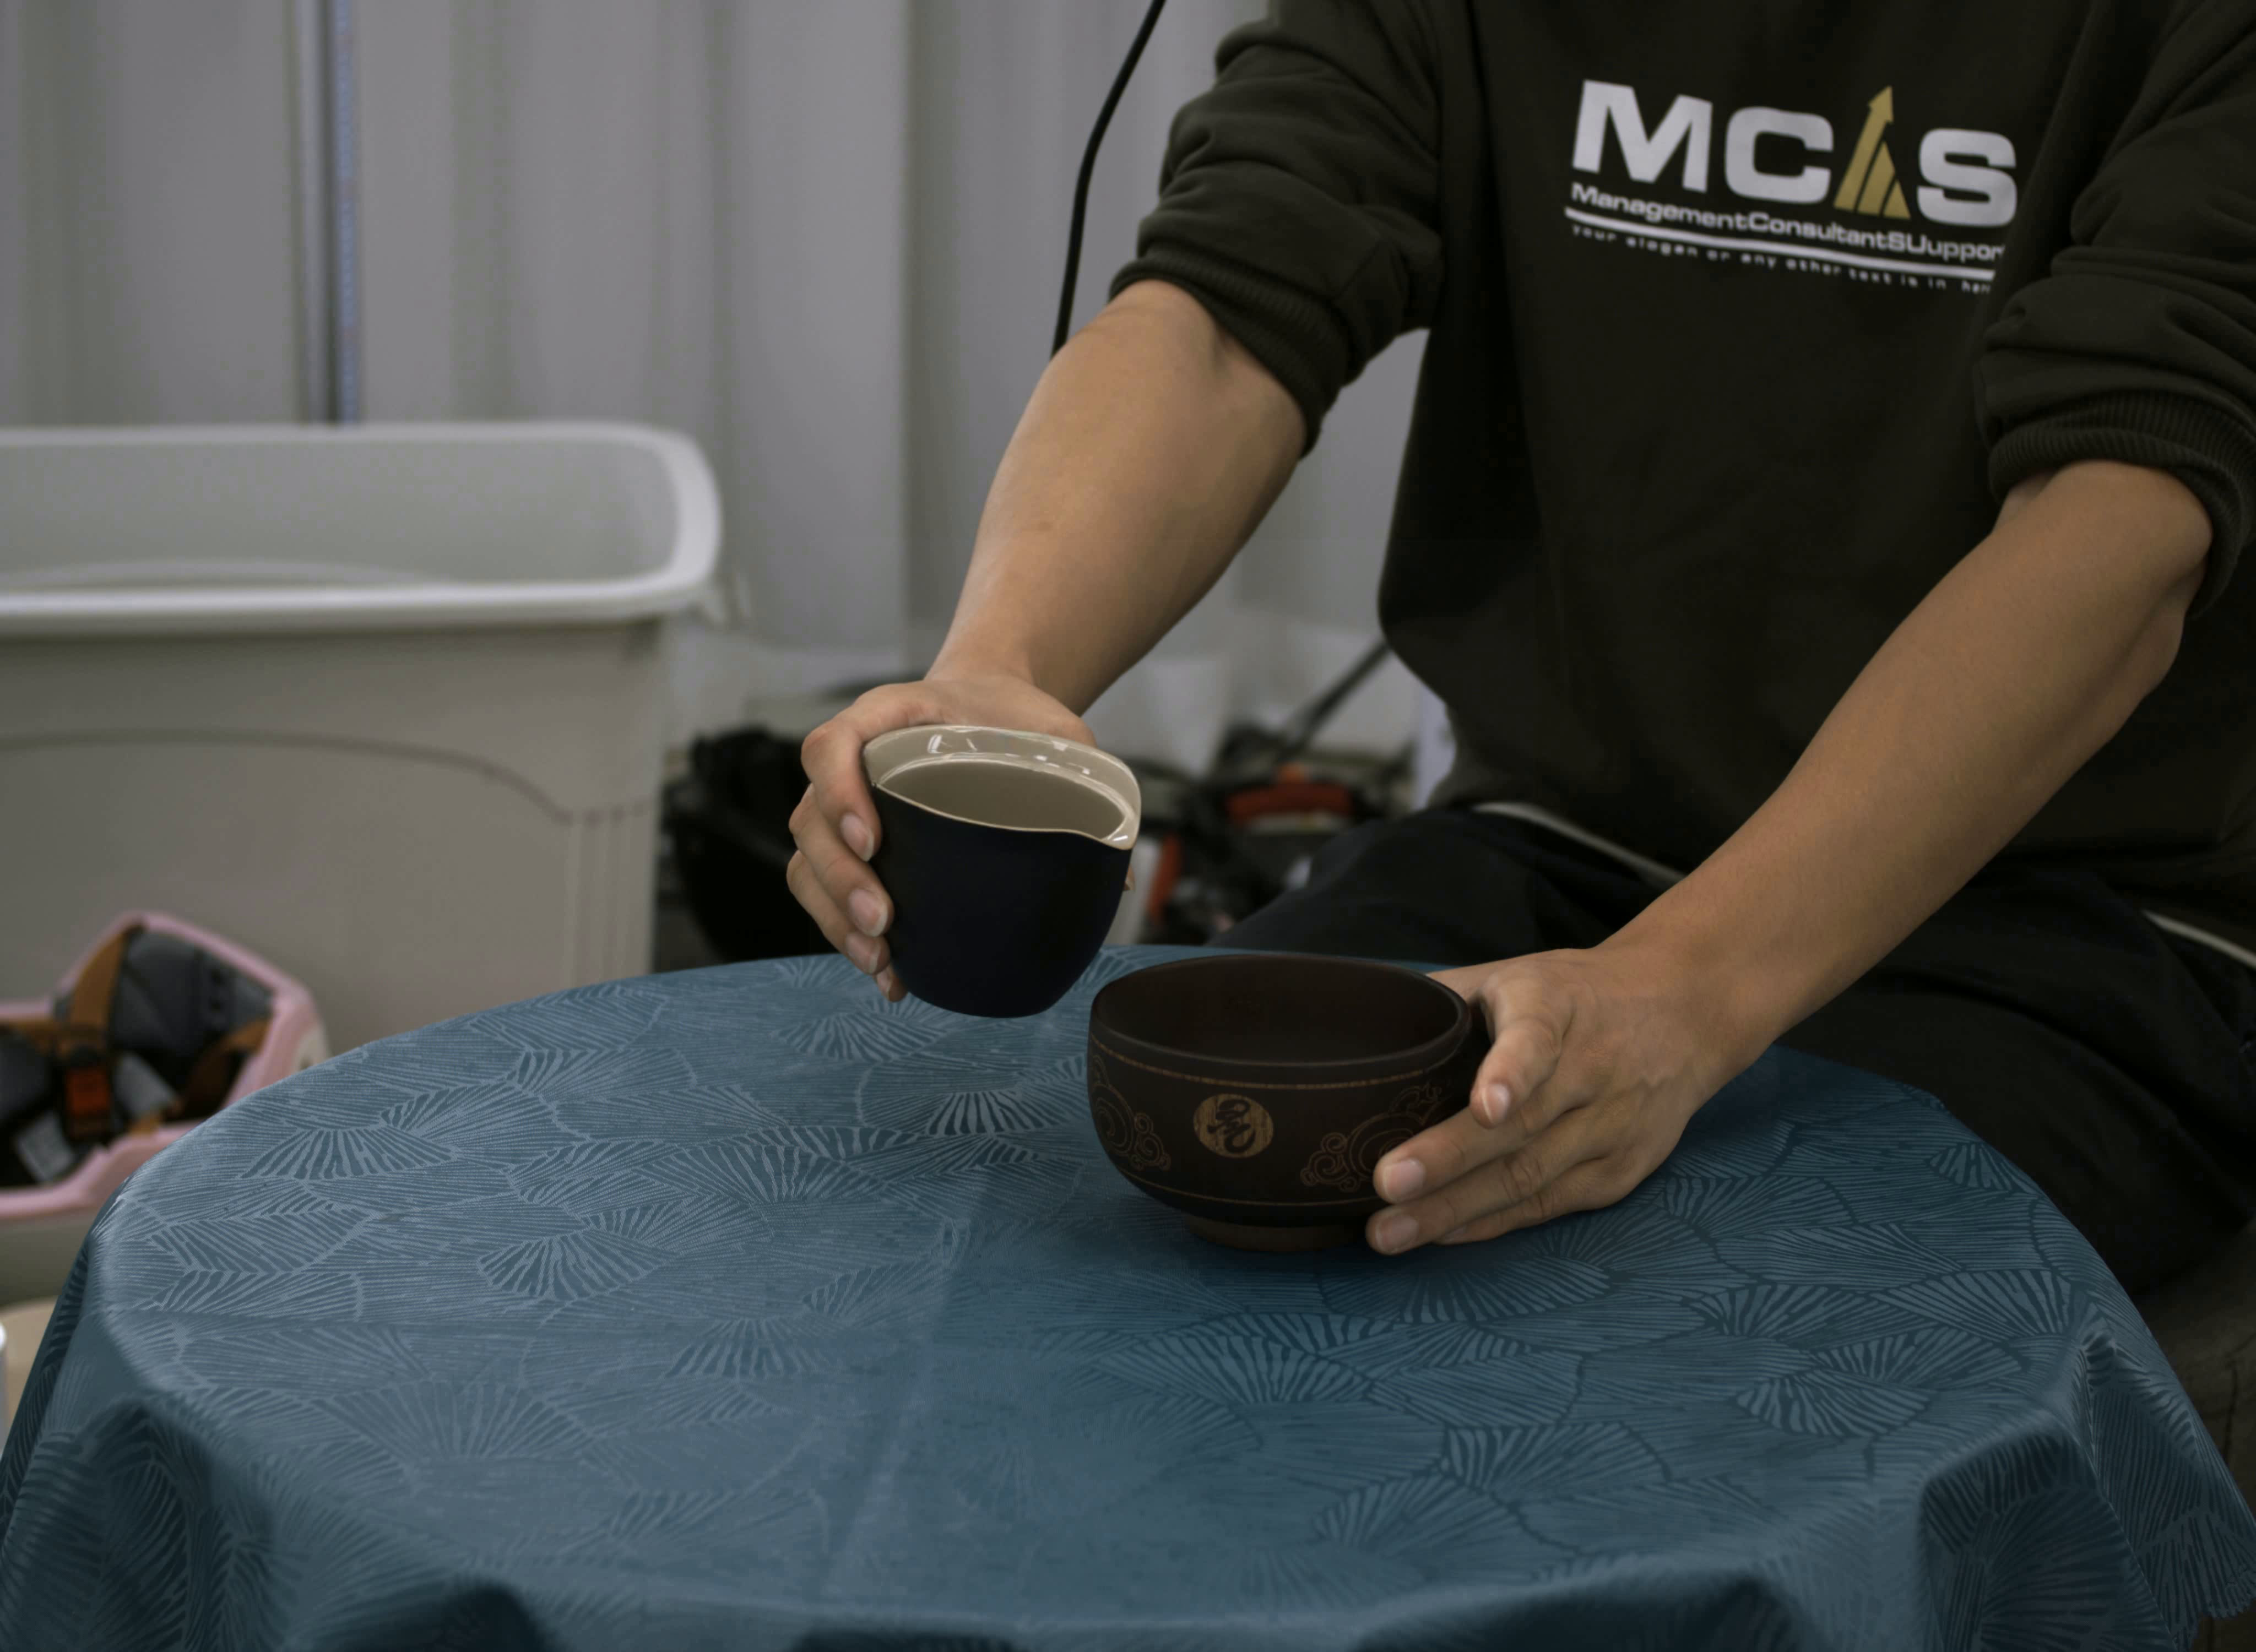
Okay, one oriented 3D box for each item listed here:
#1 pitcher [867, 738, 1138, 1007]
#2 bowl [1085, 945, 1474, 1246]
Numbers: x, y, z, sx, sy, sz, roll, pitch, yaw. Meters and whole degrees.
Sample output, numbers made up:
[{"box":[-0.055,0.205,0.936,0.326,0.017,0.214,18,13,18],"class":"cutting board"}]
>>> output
[{"box":[-0.039,0.016,1.636,0.084,0.072,0.094,-6,24,-38],"class":"pitcher"},{"box":[0.046,0.085,1.595,0.117,0.070,0.117,-1,16,1],"class":"bowl"}]
